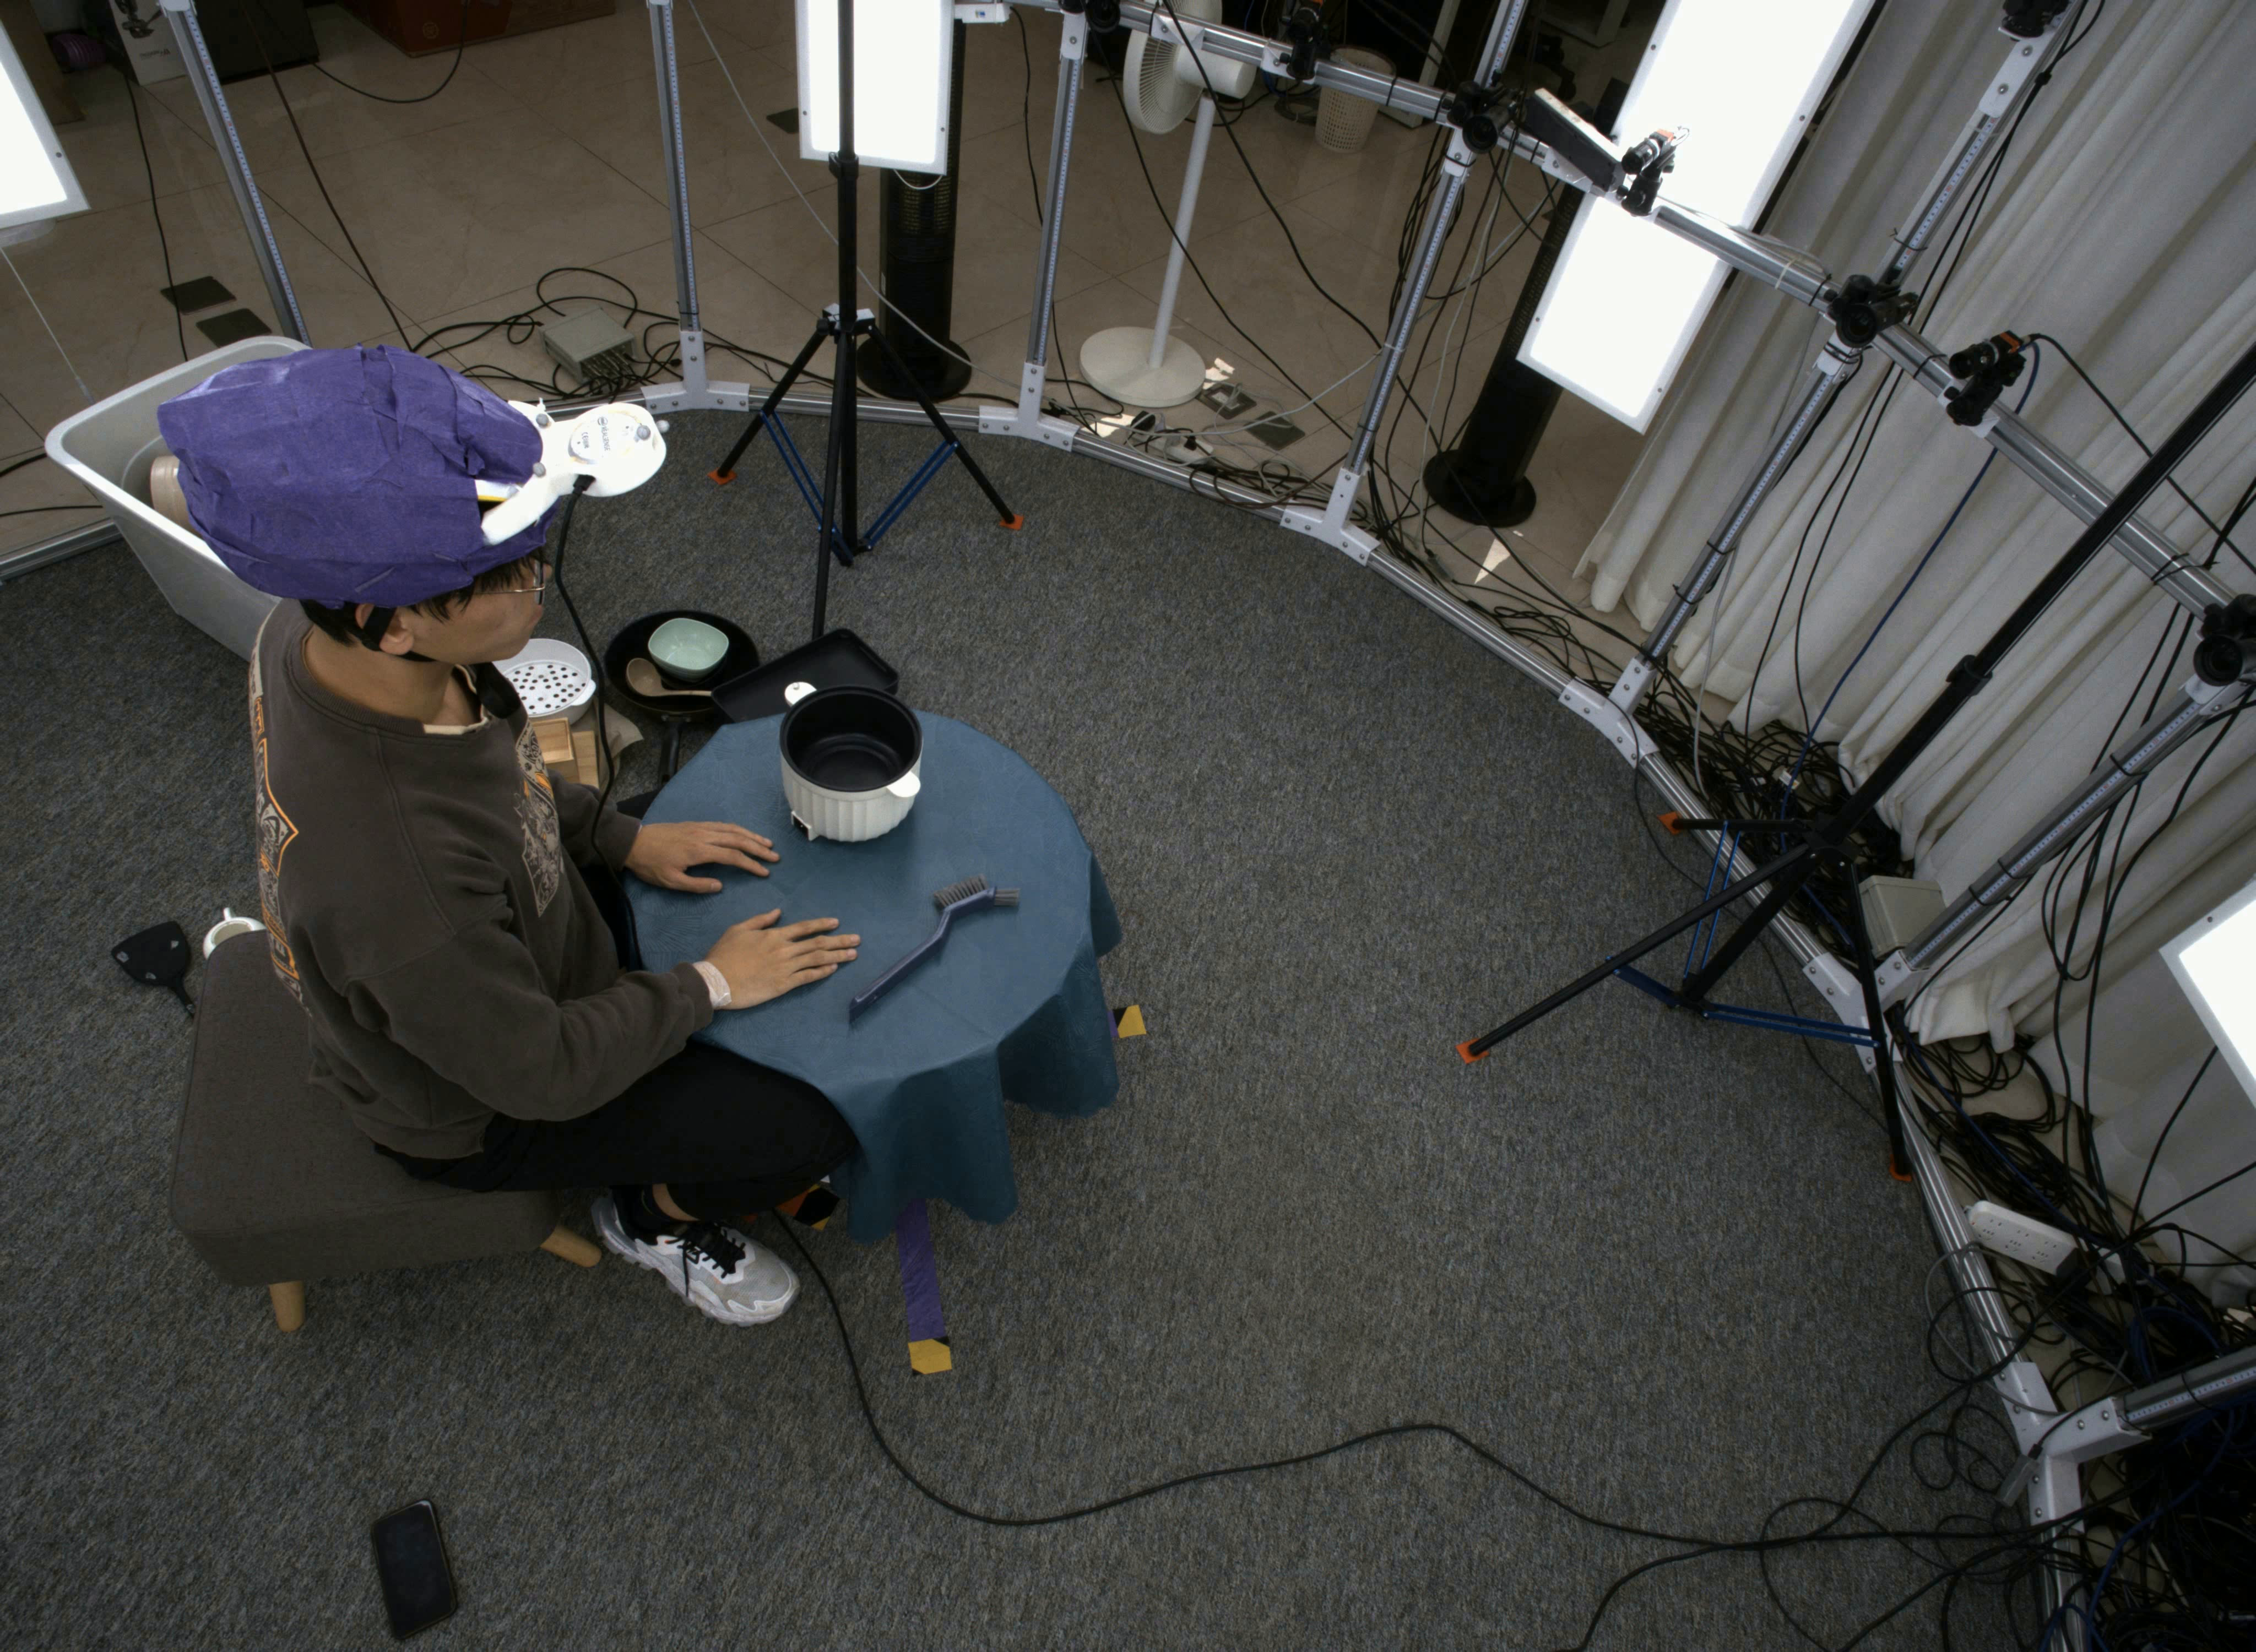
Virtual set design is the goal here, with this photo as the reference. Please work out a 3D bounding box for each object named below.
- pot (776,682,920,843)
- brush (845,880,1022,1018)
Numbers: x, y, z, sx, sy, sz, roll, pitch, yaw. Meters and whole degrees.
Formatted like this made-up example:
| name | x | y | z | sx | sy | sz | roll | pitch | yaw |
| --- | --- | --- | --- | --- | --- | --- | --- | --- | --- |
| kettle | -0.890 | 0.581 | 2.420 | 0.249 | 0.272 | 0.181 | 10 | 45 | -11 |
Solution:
| name | x | y | z | sx | sy | sz | roll | pitch | yaw |
| --- | --- | --- | --- | --- | --- | --- | --- | --- | --- |
| pot | -0.364 | -0.080 | 1.722 | 0.235 | 0.145 | 0.190 | 40 | 60 | 15 |
| brush | -0.247 | 0.156 | 1.647 | 0.094 | 0.034 | 0.272 | 33 | 52 | 11 |
